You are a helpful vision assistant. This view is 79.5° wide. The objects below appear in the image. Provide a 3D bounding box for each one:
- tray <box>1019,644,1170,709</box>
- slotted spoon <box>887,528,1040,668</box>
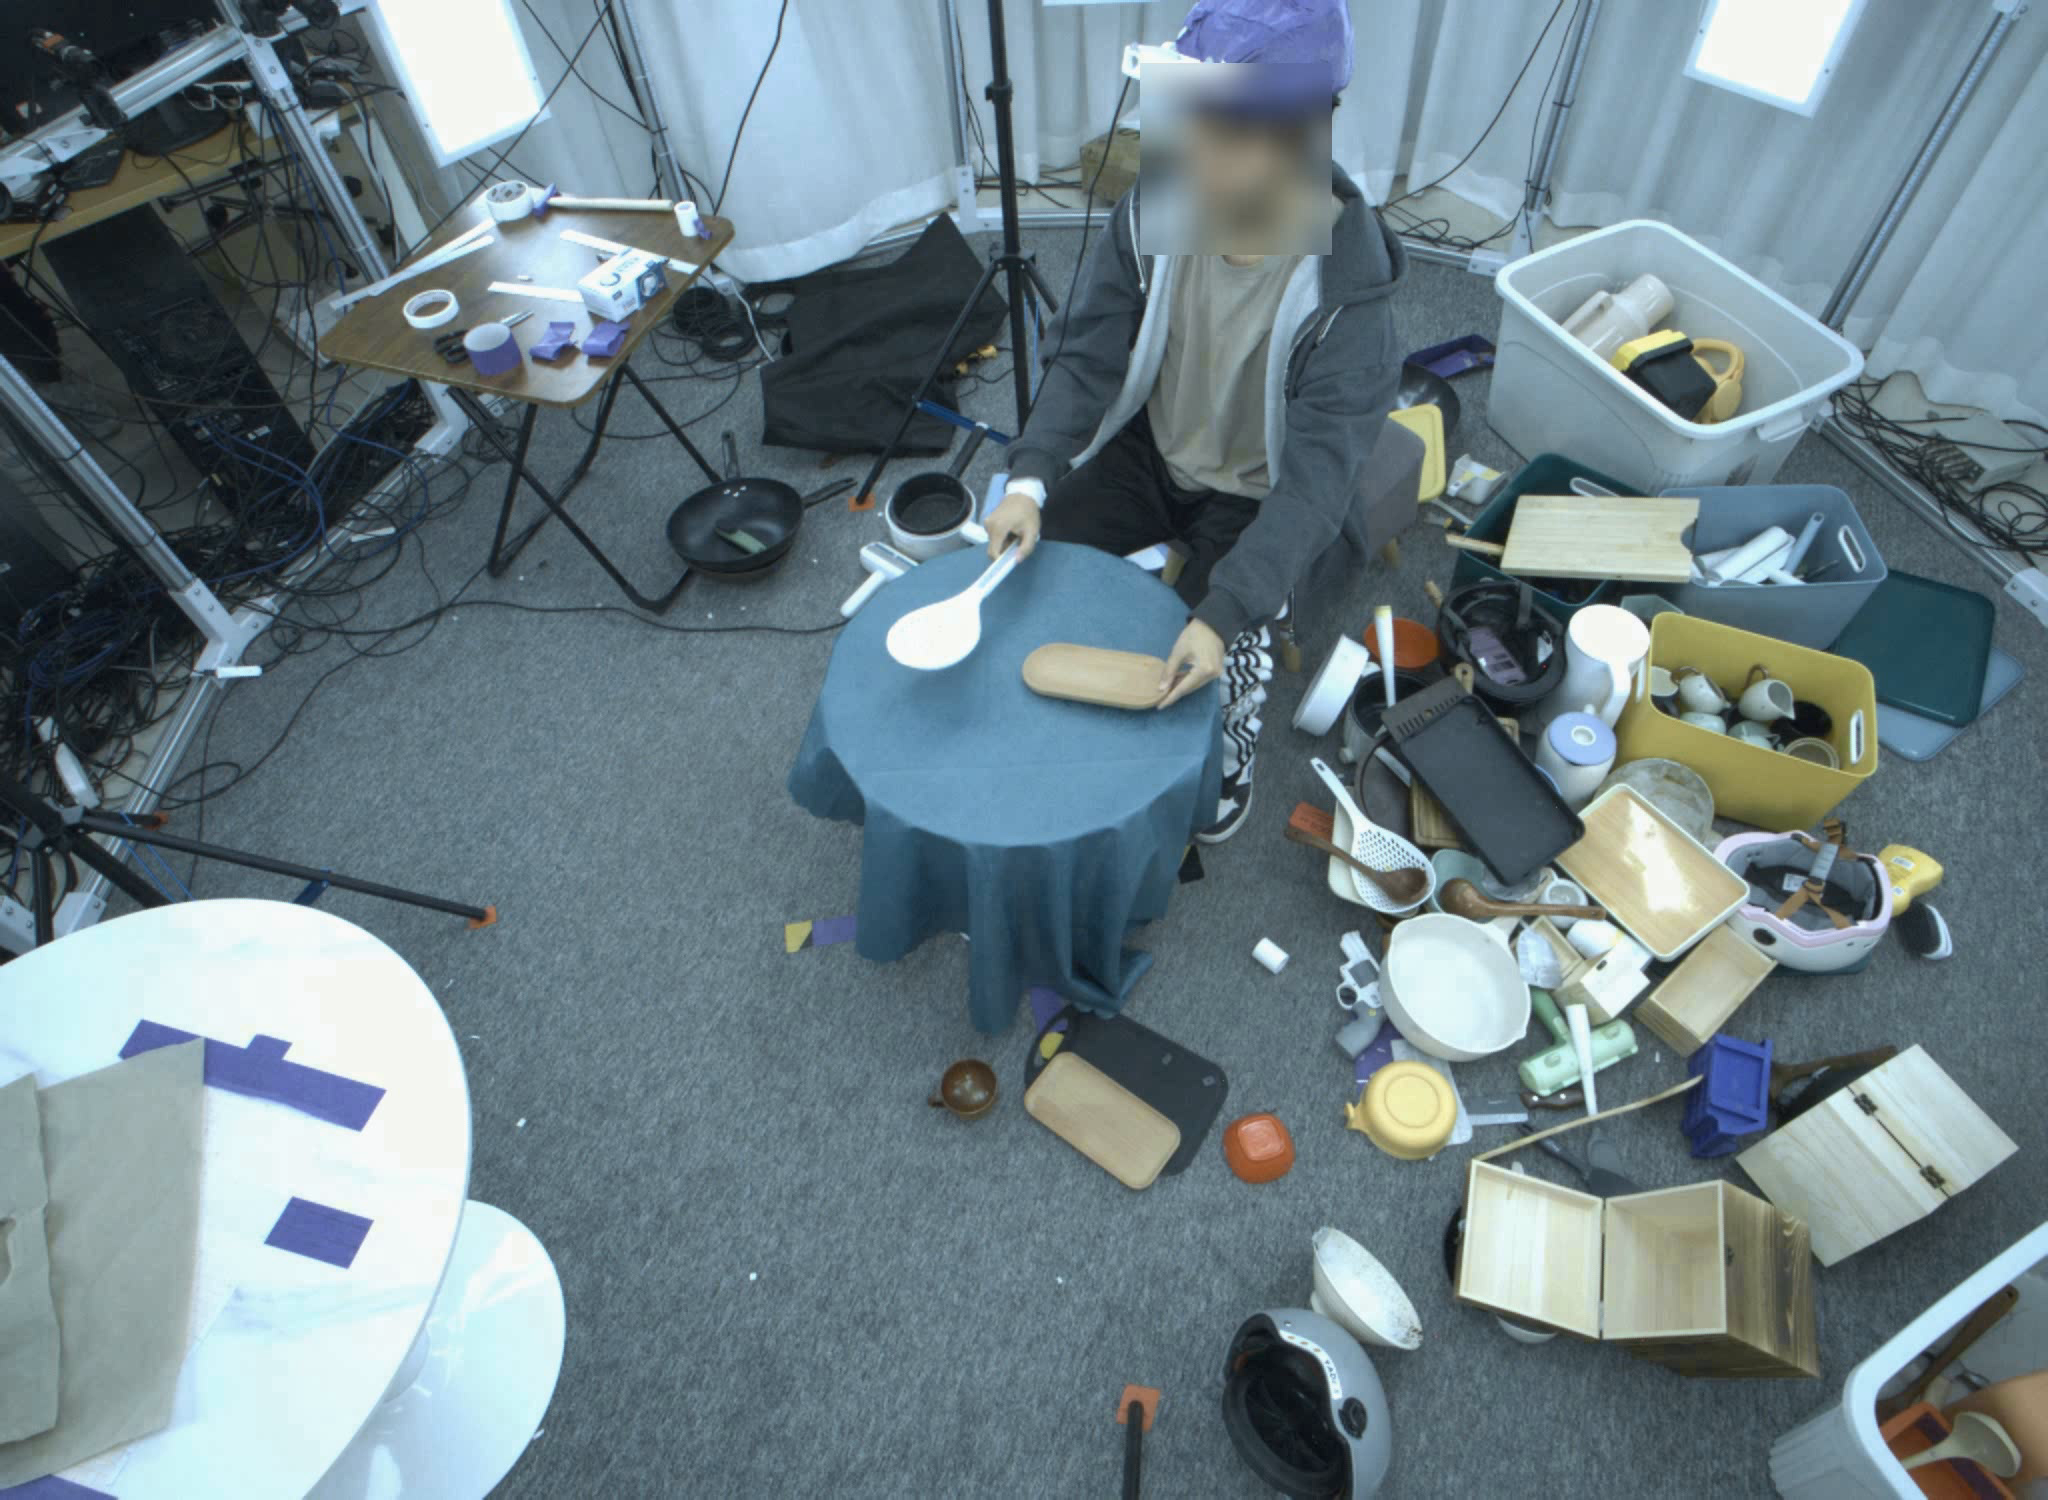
[{"bbox_3d":[0.105,-0.110,1.840,0.228,0.020,0.101,8,52,17],"label":"tray"},{"bbox_3d":[-0.077,-0.234,1.855,0.134,0.046,0.351,20,57,24],"label":"slotted spoon"}]
